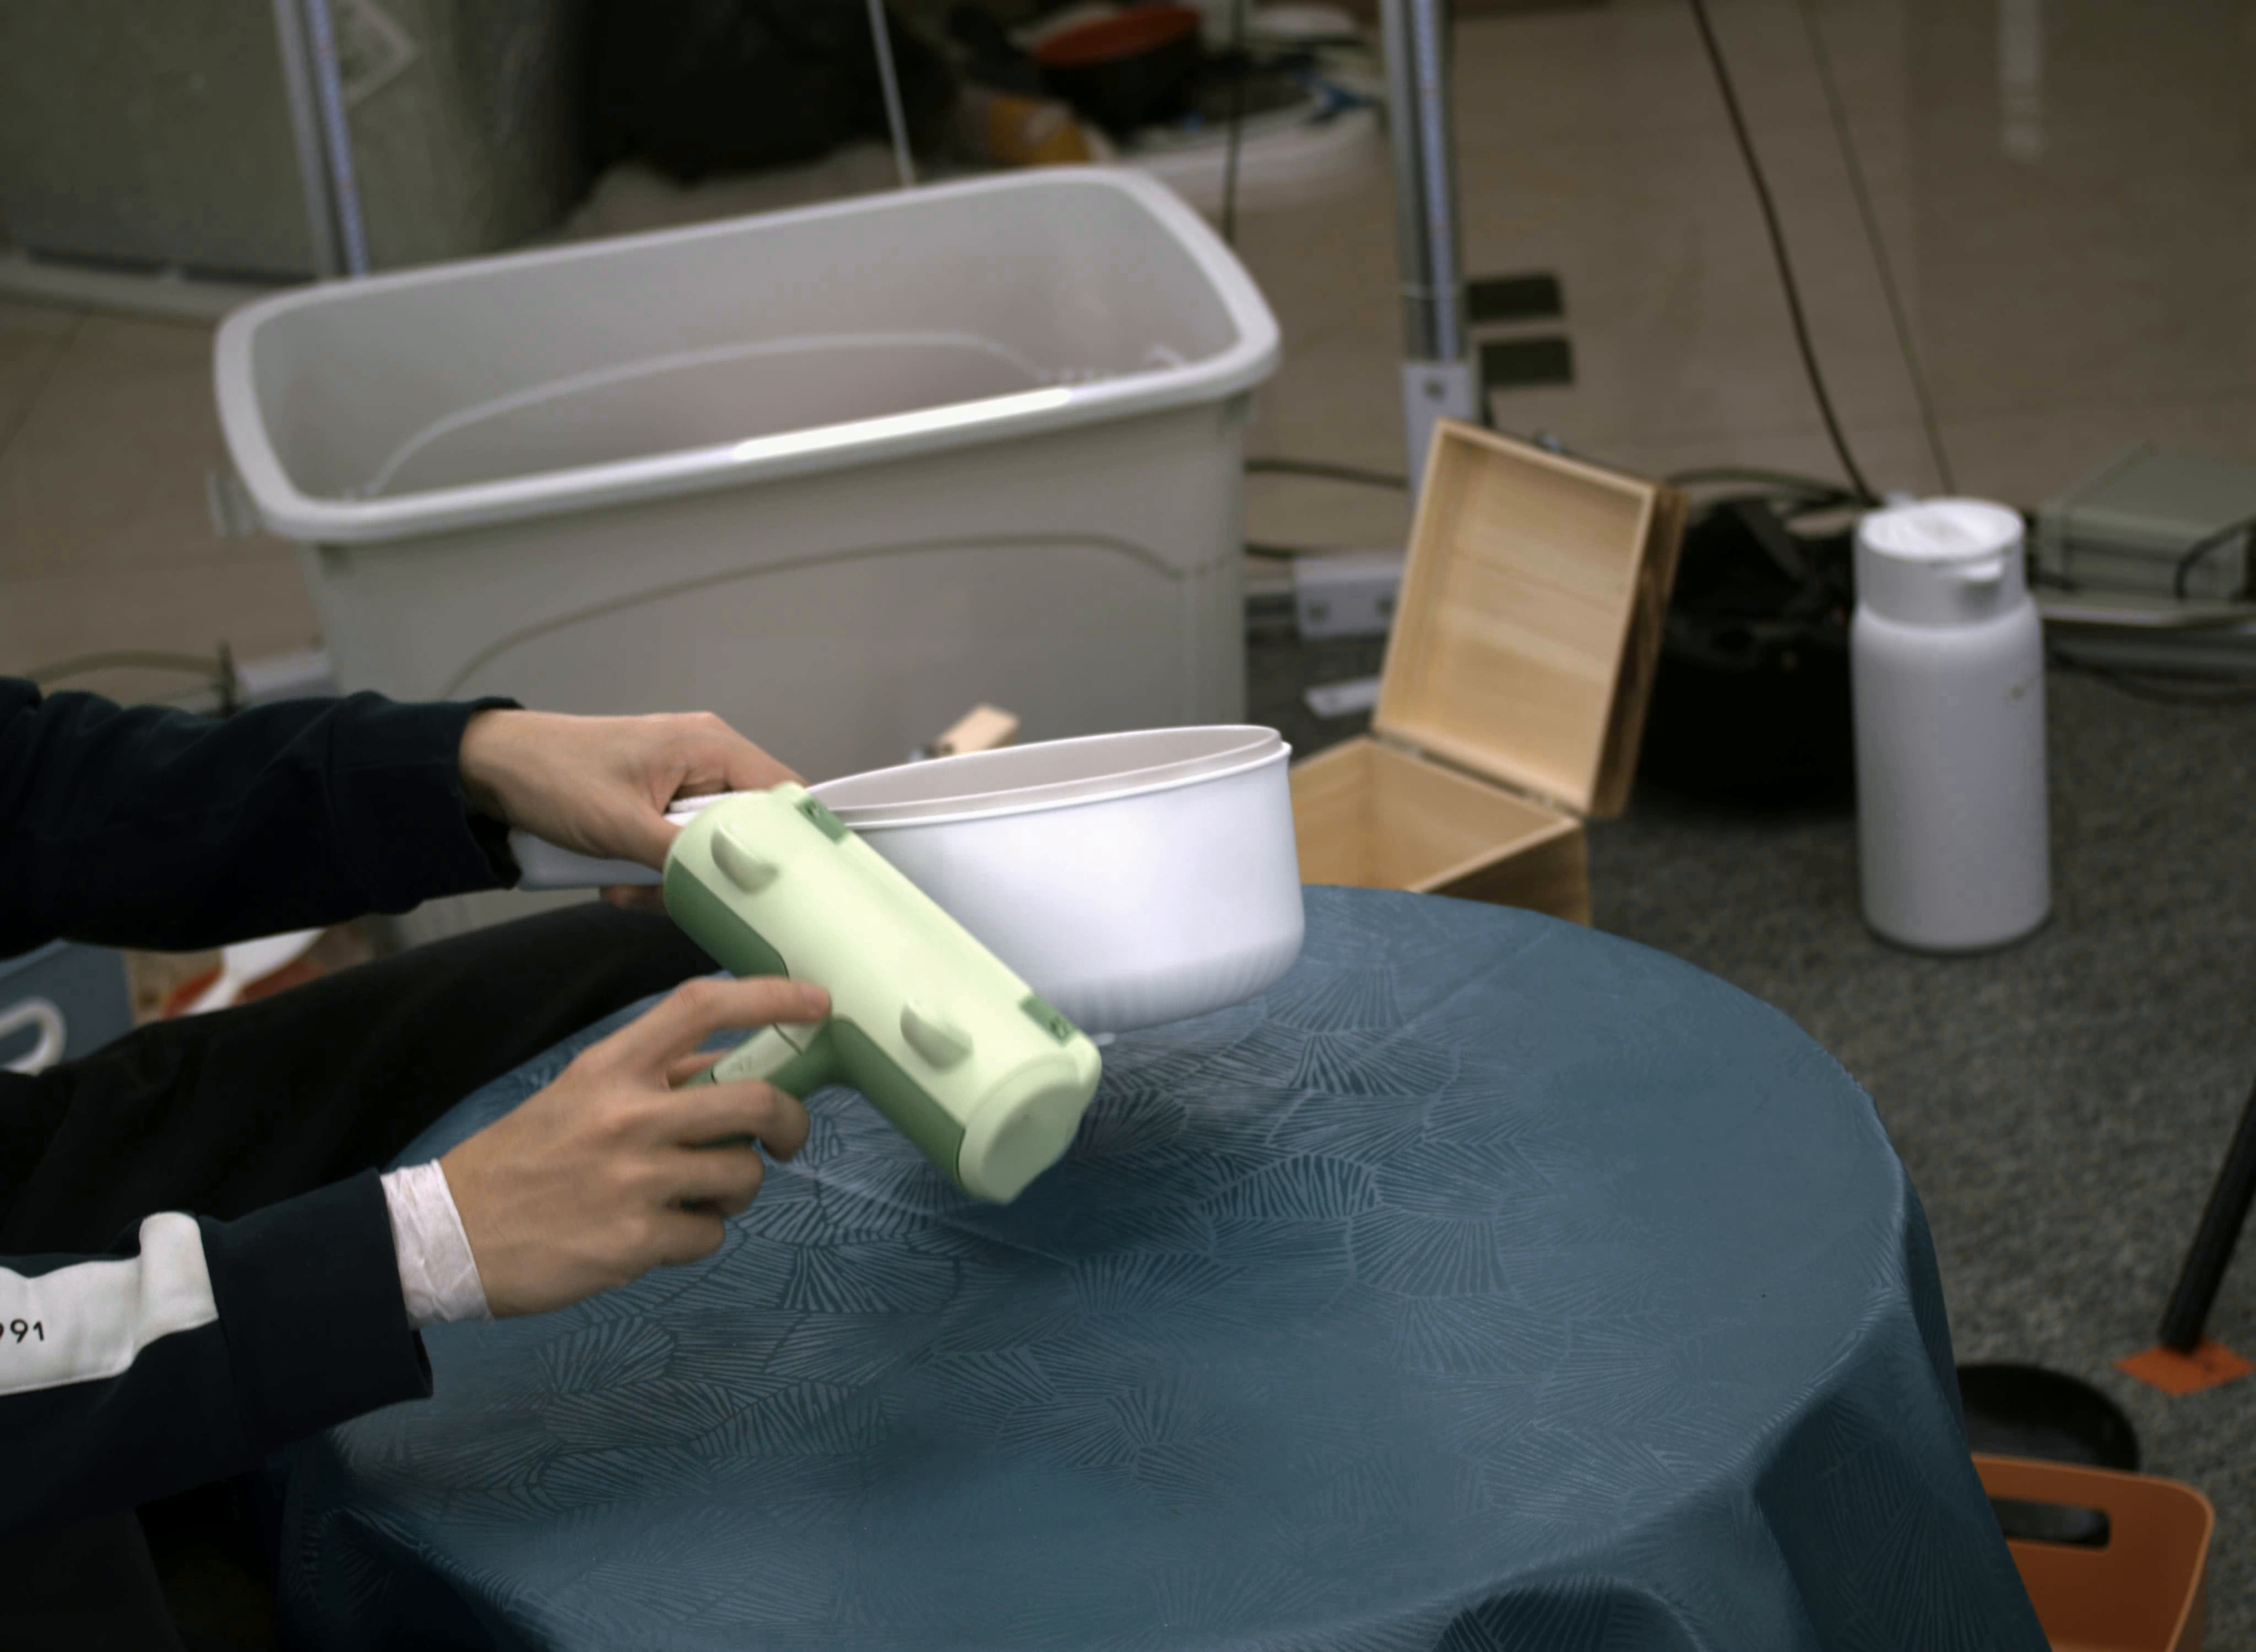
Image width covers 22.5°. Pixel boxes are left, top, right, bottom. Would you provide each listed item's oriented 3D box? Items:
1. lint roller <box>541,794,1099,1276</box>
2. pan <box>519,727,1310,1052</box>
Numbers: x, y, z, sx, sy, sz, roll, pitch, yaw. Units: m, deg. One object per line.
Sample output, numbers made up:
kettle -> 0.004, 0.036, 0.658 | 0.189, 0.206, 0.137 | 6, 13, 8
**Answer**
lint roller -> -0.136, 0.086, 1.998 | 0.182, 0.084, 0.196 | -34, 52, -19
pan -> -0.091, 0.034, 2.212 | 0.354, 0.102, 0.200 | -5, 8, 36
